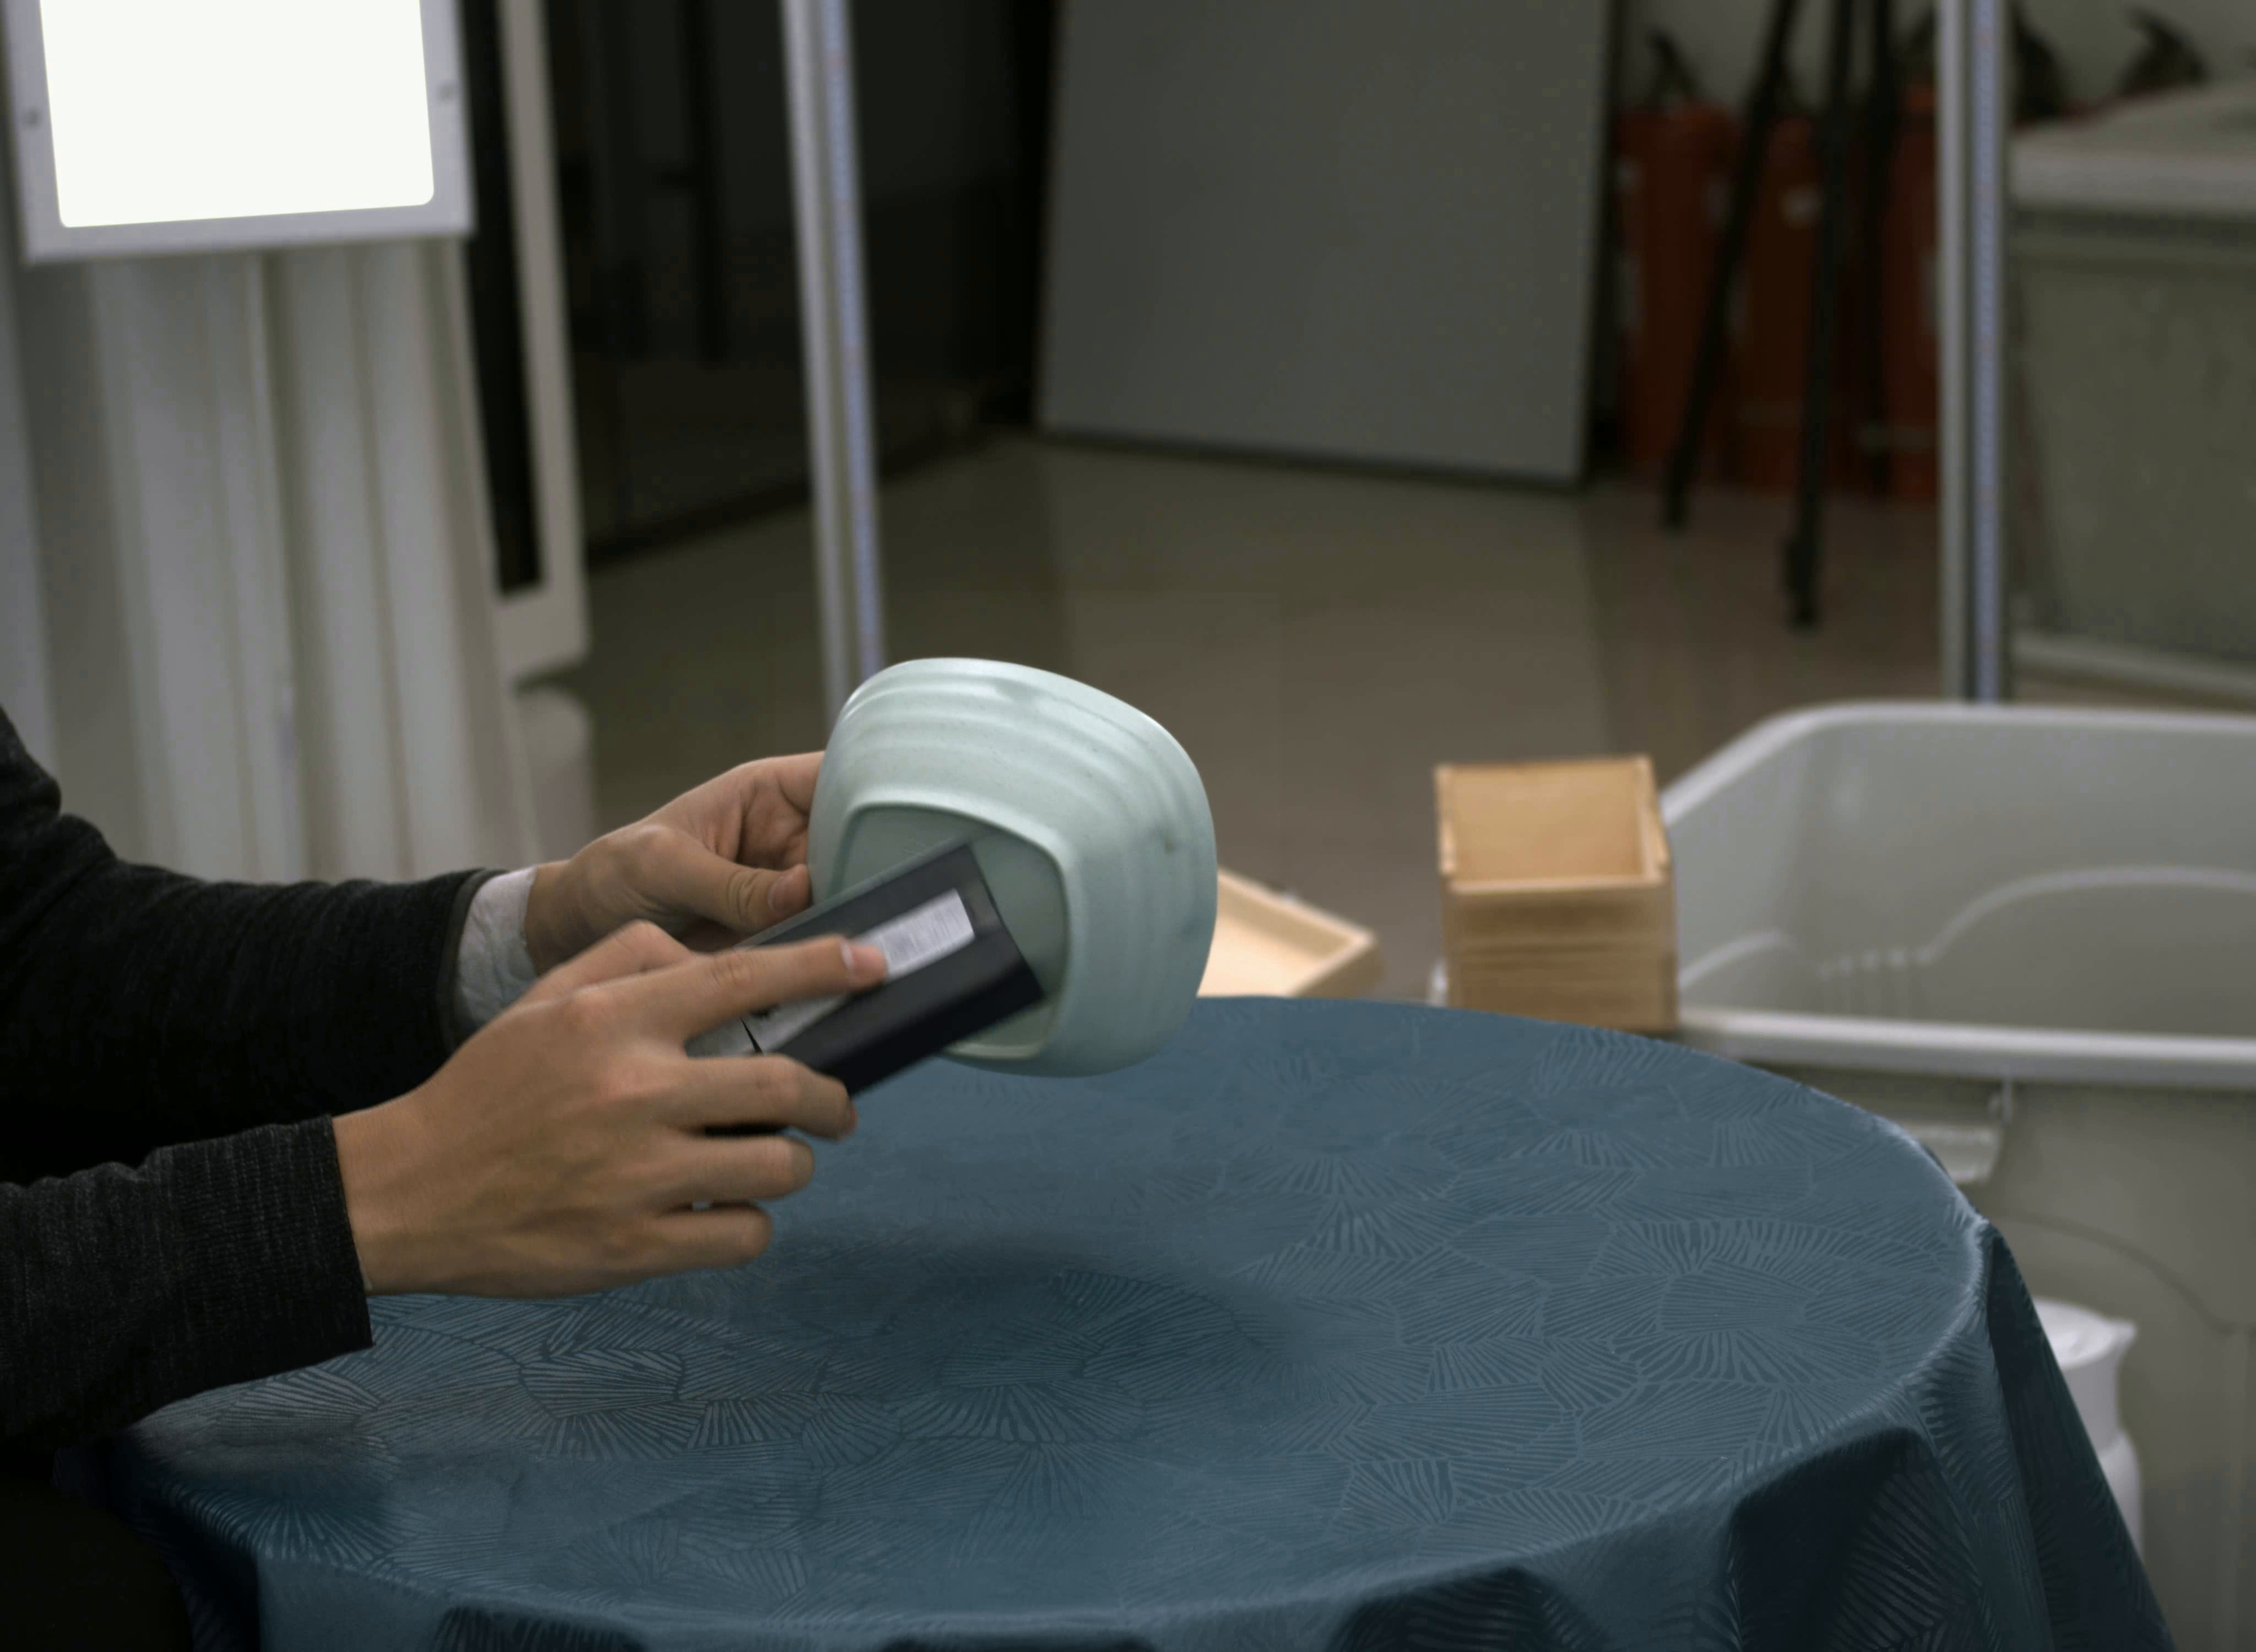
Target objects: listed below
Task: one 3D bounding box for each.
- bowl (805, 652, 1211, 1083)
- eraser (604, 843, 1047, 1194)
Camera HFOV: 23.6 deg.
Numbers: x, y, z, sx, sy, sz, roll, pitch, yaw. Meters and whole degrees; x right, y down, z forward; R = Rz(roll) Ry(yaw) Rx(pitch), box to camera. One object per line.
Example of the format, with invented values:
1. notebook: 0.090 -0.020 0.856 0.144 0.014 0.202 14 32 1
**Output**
1. bowl: -0.047 0.022 1.688 0.151 0.153 0.058 3 22 25
2. eraser: -0.088 0.056 1.585 0.124 0.030 0.054 -28 59 -4
